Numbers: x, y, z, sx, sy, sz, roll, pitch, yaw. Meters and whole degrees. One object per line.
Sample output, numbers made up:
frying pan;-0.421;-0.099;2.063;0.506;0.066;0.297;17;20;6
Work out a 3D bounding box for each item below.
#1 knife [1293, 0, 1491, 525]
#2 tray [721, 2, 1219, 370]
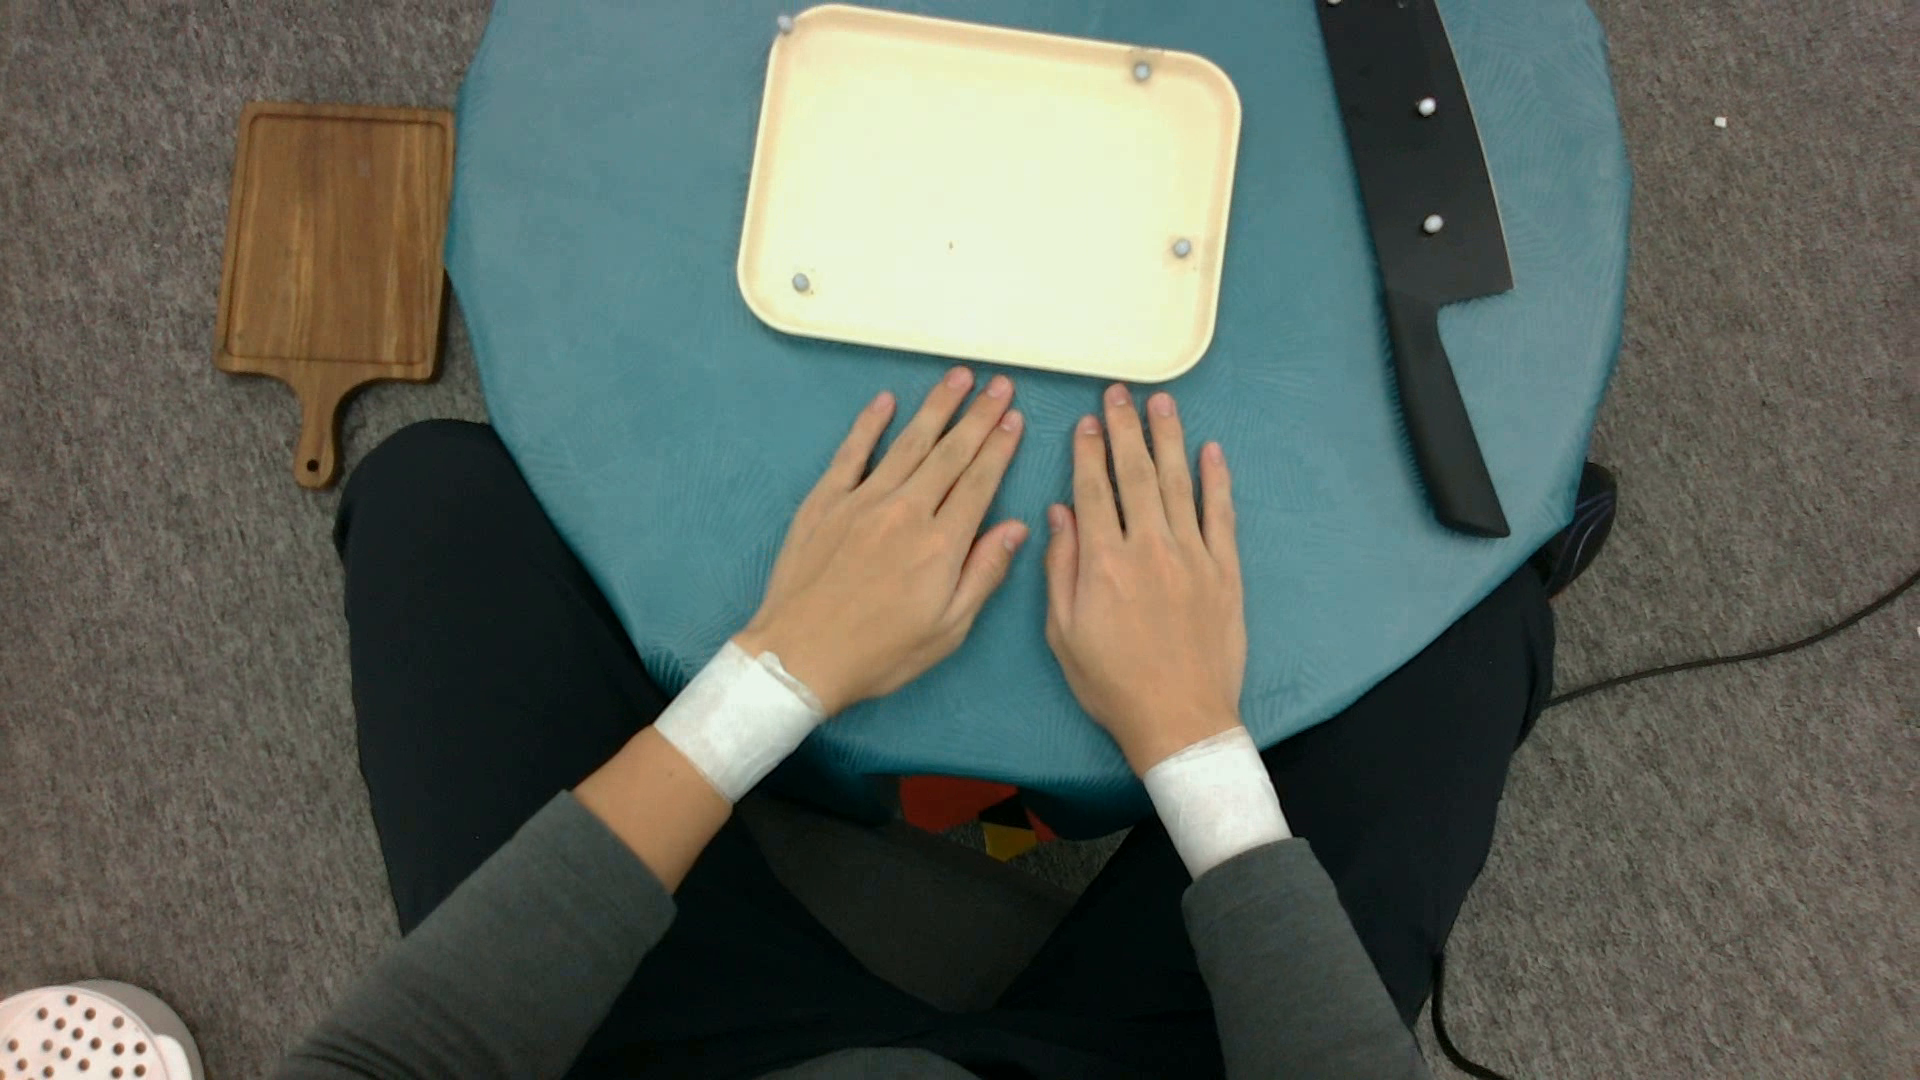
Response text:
knife;0.228;-0.155;0.701;0.081;0.021;0.302;-7;81;-4
tray;0.006;-0.178;0.696;0.240;0.017;0.171;8;83;-1
